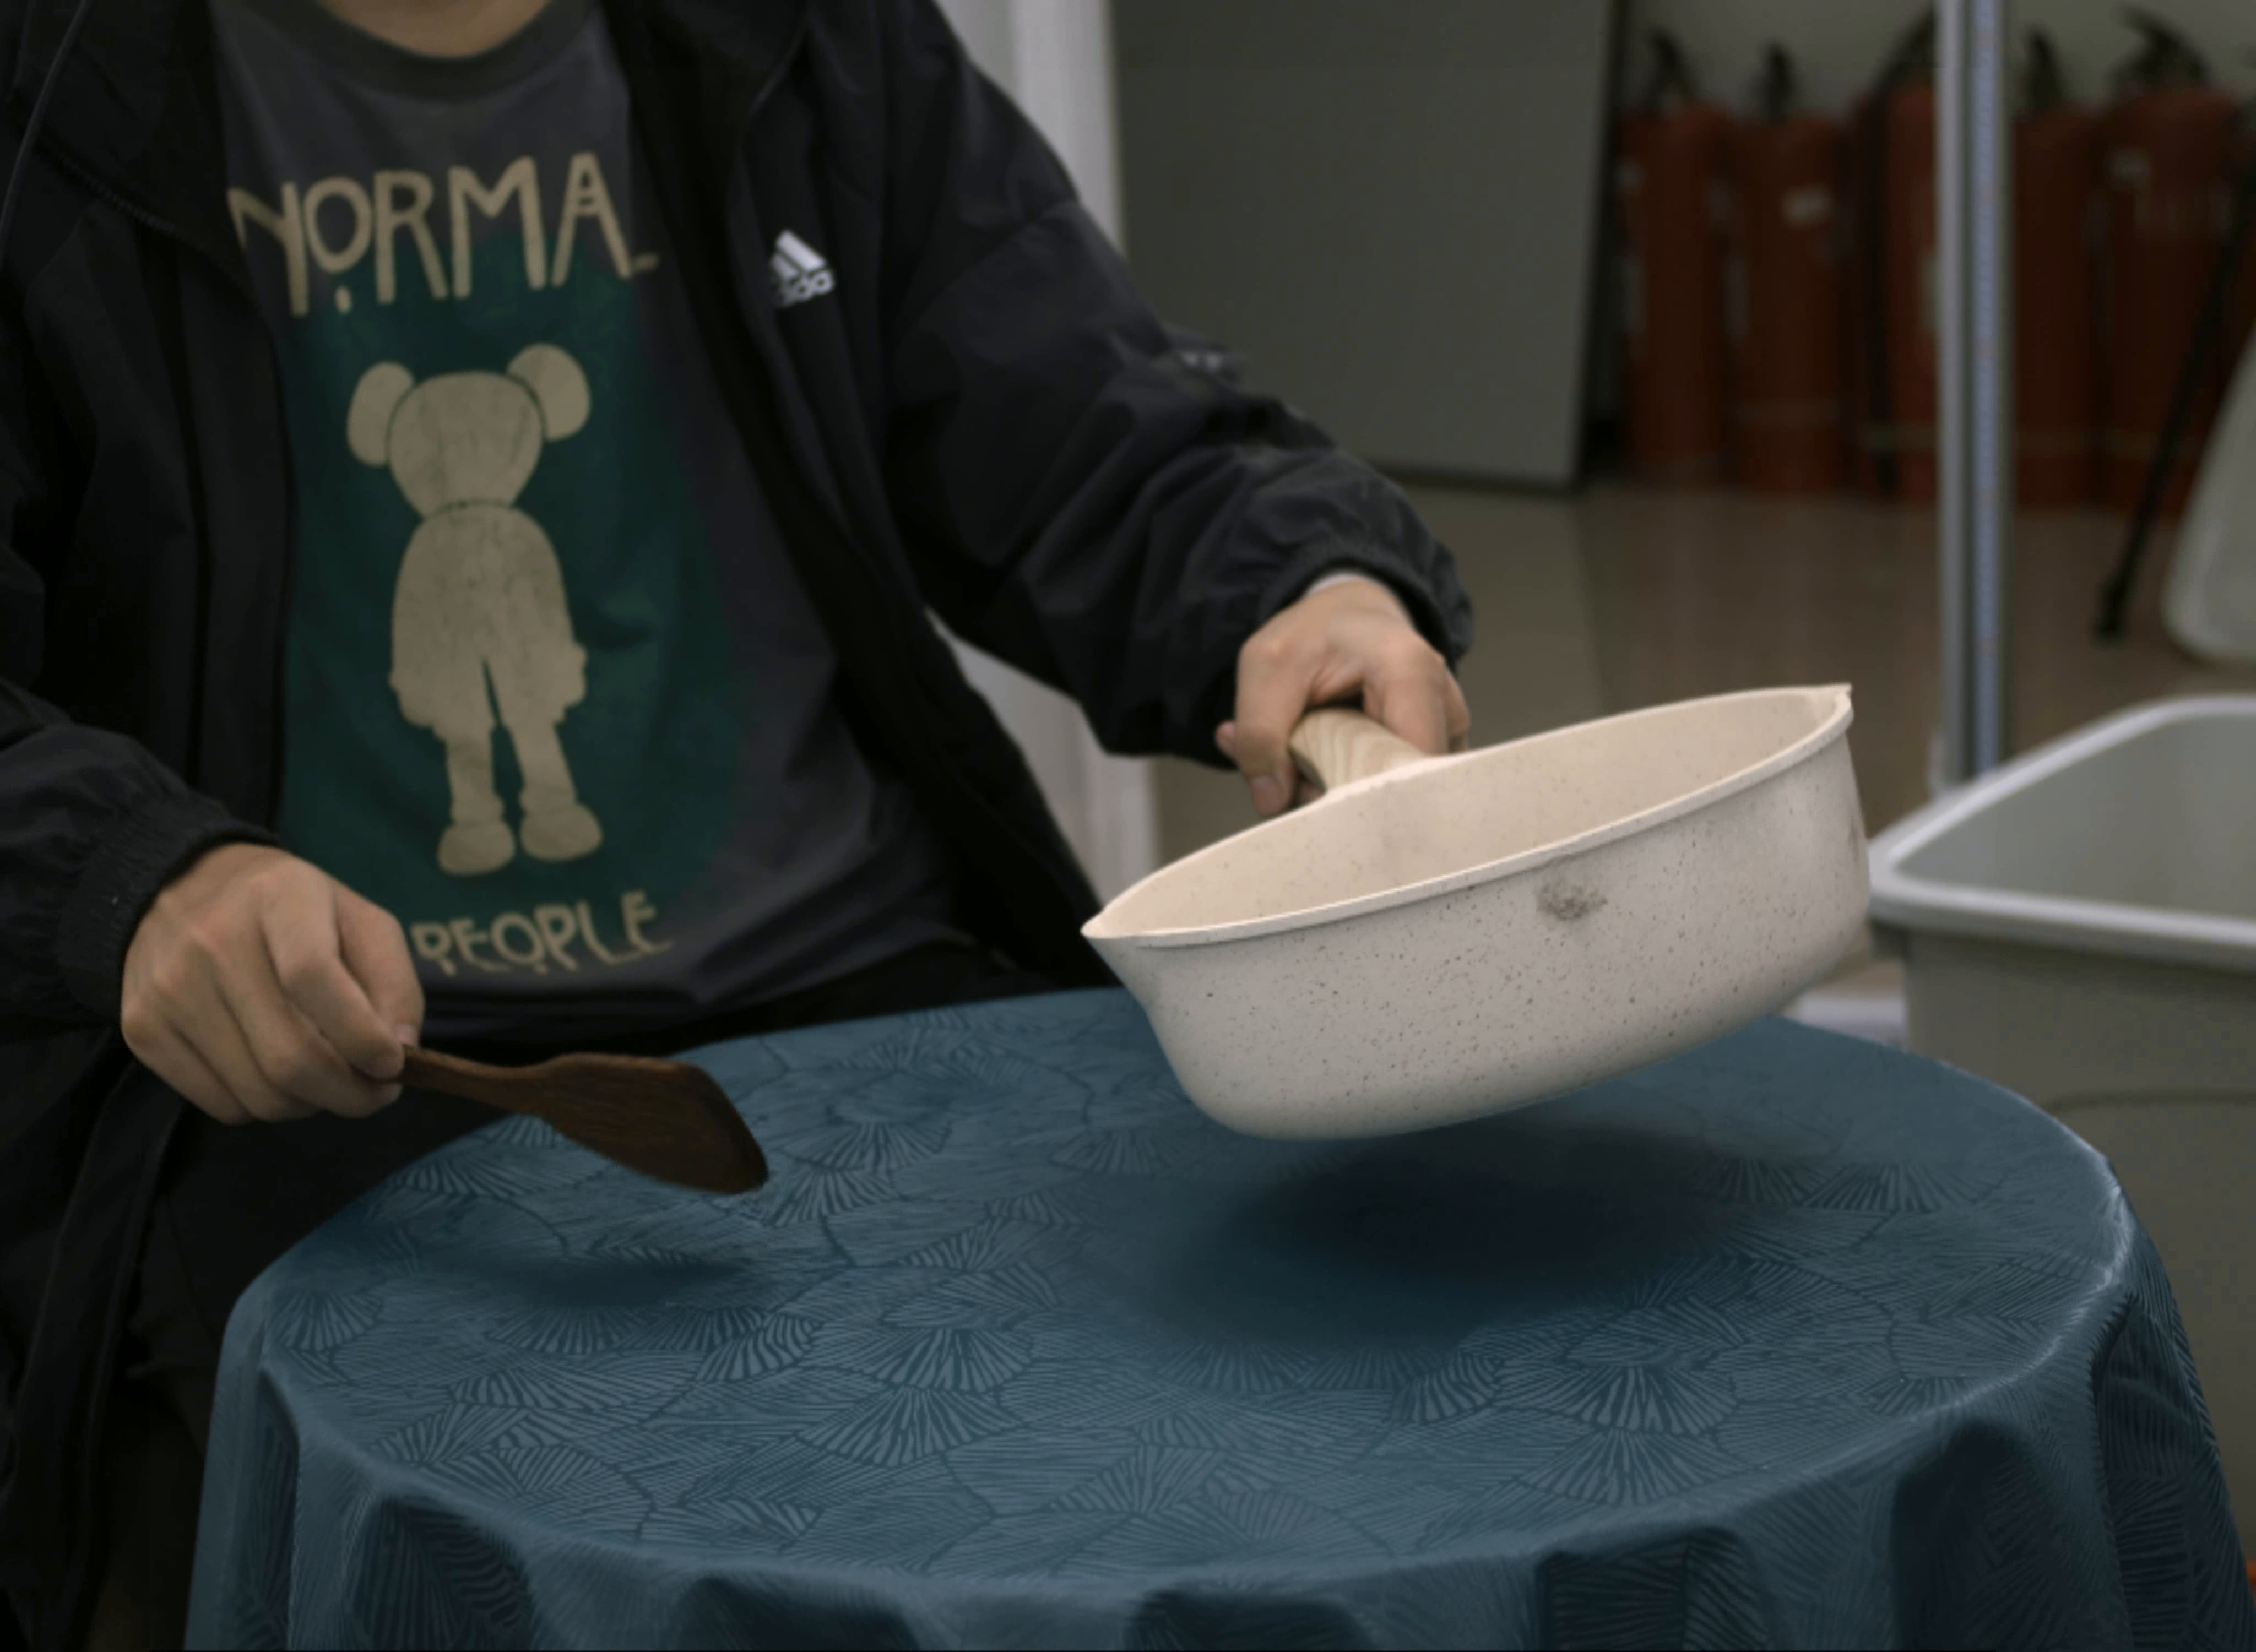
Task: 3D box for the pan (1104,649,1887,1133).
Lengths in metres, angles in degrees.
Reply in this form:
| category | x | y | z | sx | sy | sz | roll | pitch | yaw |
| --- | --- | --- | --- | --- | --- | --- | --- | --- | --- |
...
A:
| category | x | y | z | sx | sy | sz | roll | pitch | yaw |
| --- | --- | --- | --- | --- | --- | --- | --- | --- | --- |
| pan | 0.108 | 0.014 | 1.810 | 0.260 | 0.103 | 0.437 | -21 | 6 | -8 |

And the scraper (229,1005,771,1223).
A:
| category | x | y | z | sx | sy | sz | roll | pitch | yaw |
| --- | --- | --- | --- | --- | --- | --- | --- | --- | --- |
| scraper | -0.208 | 0.086 | 1.756 | 0.212 | 0.076 | 0.011 | 10 | 47 | 32 |
